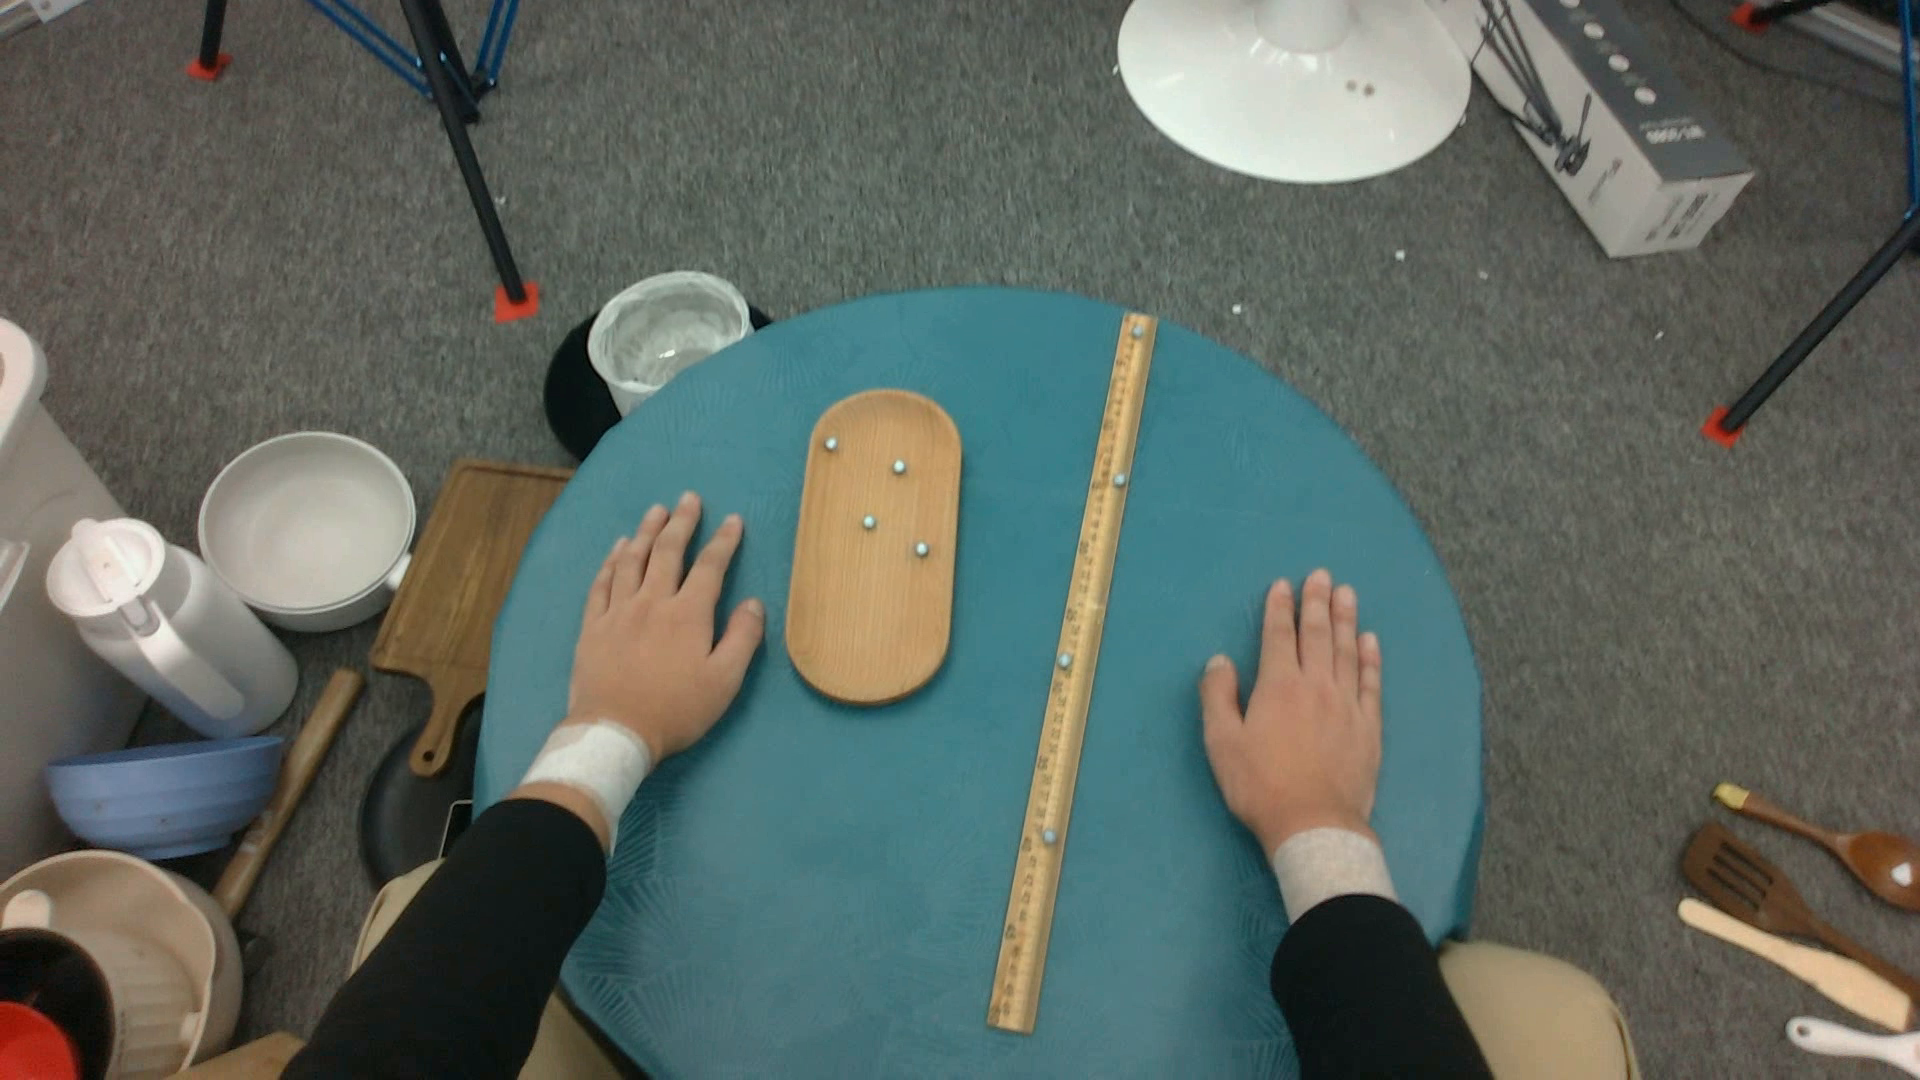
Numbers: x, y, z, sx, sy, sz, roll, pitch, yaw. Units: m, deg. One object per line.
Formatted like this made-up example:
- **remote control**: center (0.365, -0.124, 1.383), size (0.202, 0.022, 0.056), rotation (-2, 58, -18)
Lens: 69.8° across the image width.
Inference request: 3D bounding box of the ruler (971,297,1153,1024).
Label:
- **ruler**: center (0.070, 0.041, 0.849), size (0.027, 0.006, 0.502), rotation (11, 60, 6)

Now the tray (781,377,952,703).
- **tray**: center (-0.057, -0.005, 0.866), size (0.101, 0.020, 0.232), rotation (0, 61, 1)
